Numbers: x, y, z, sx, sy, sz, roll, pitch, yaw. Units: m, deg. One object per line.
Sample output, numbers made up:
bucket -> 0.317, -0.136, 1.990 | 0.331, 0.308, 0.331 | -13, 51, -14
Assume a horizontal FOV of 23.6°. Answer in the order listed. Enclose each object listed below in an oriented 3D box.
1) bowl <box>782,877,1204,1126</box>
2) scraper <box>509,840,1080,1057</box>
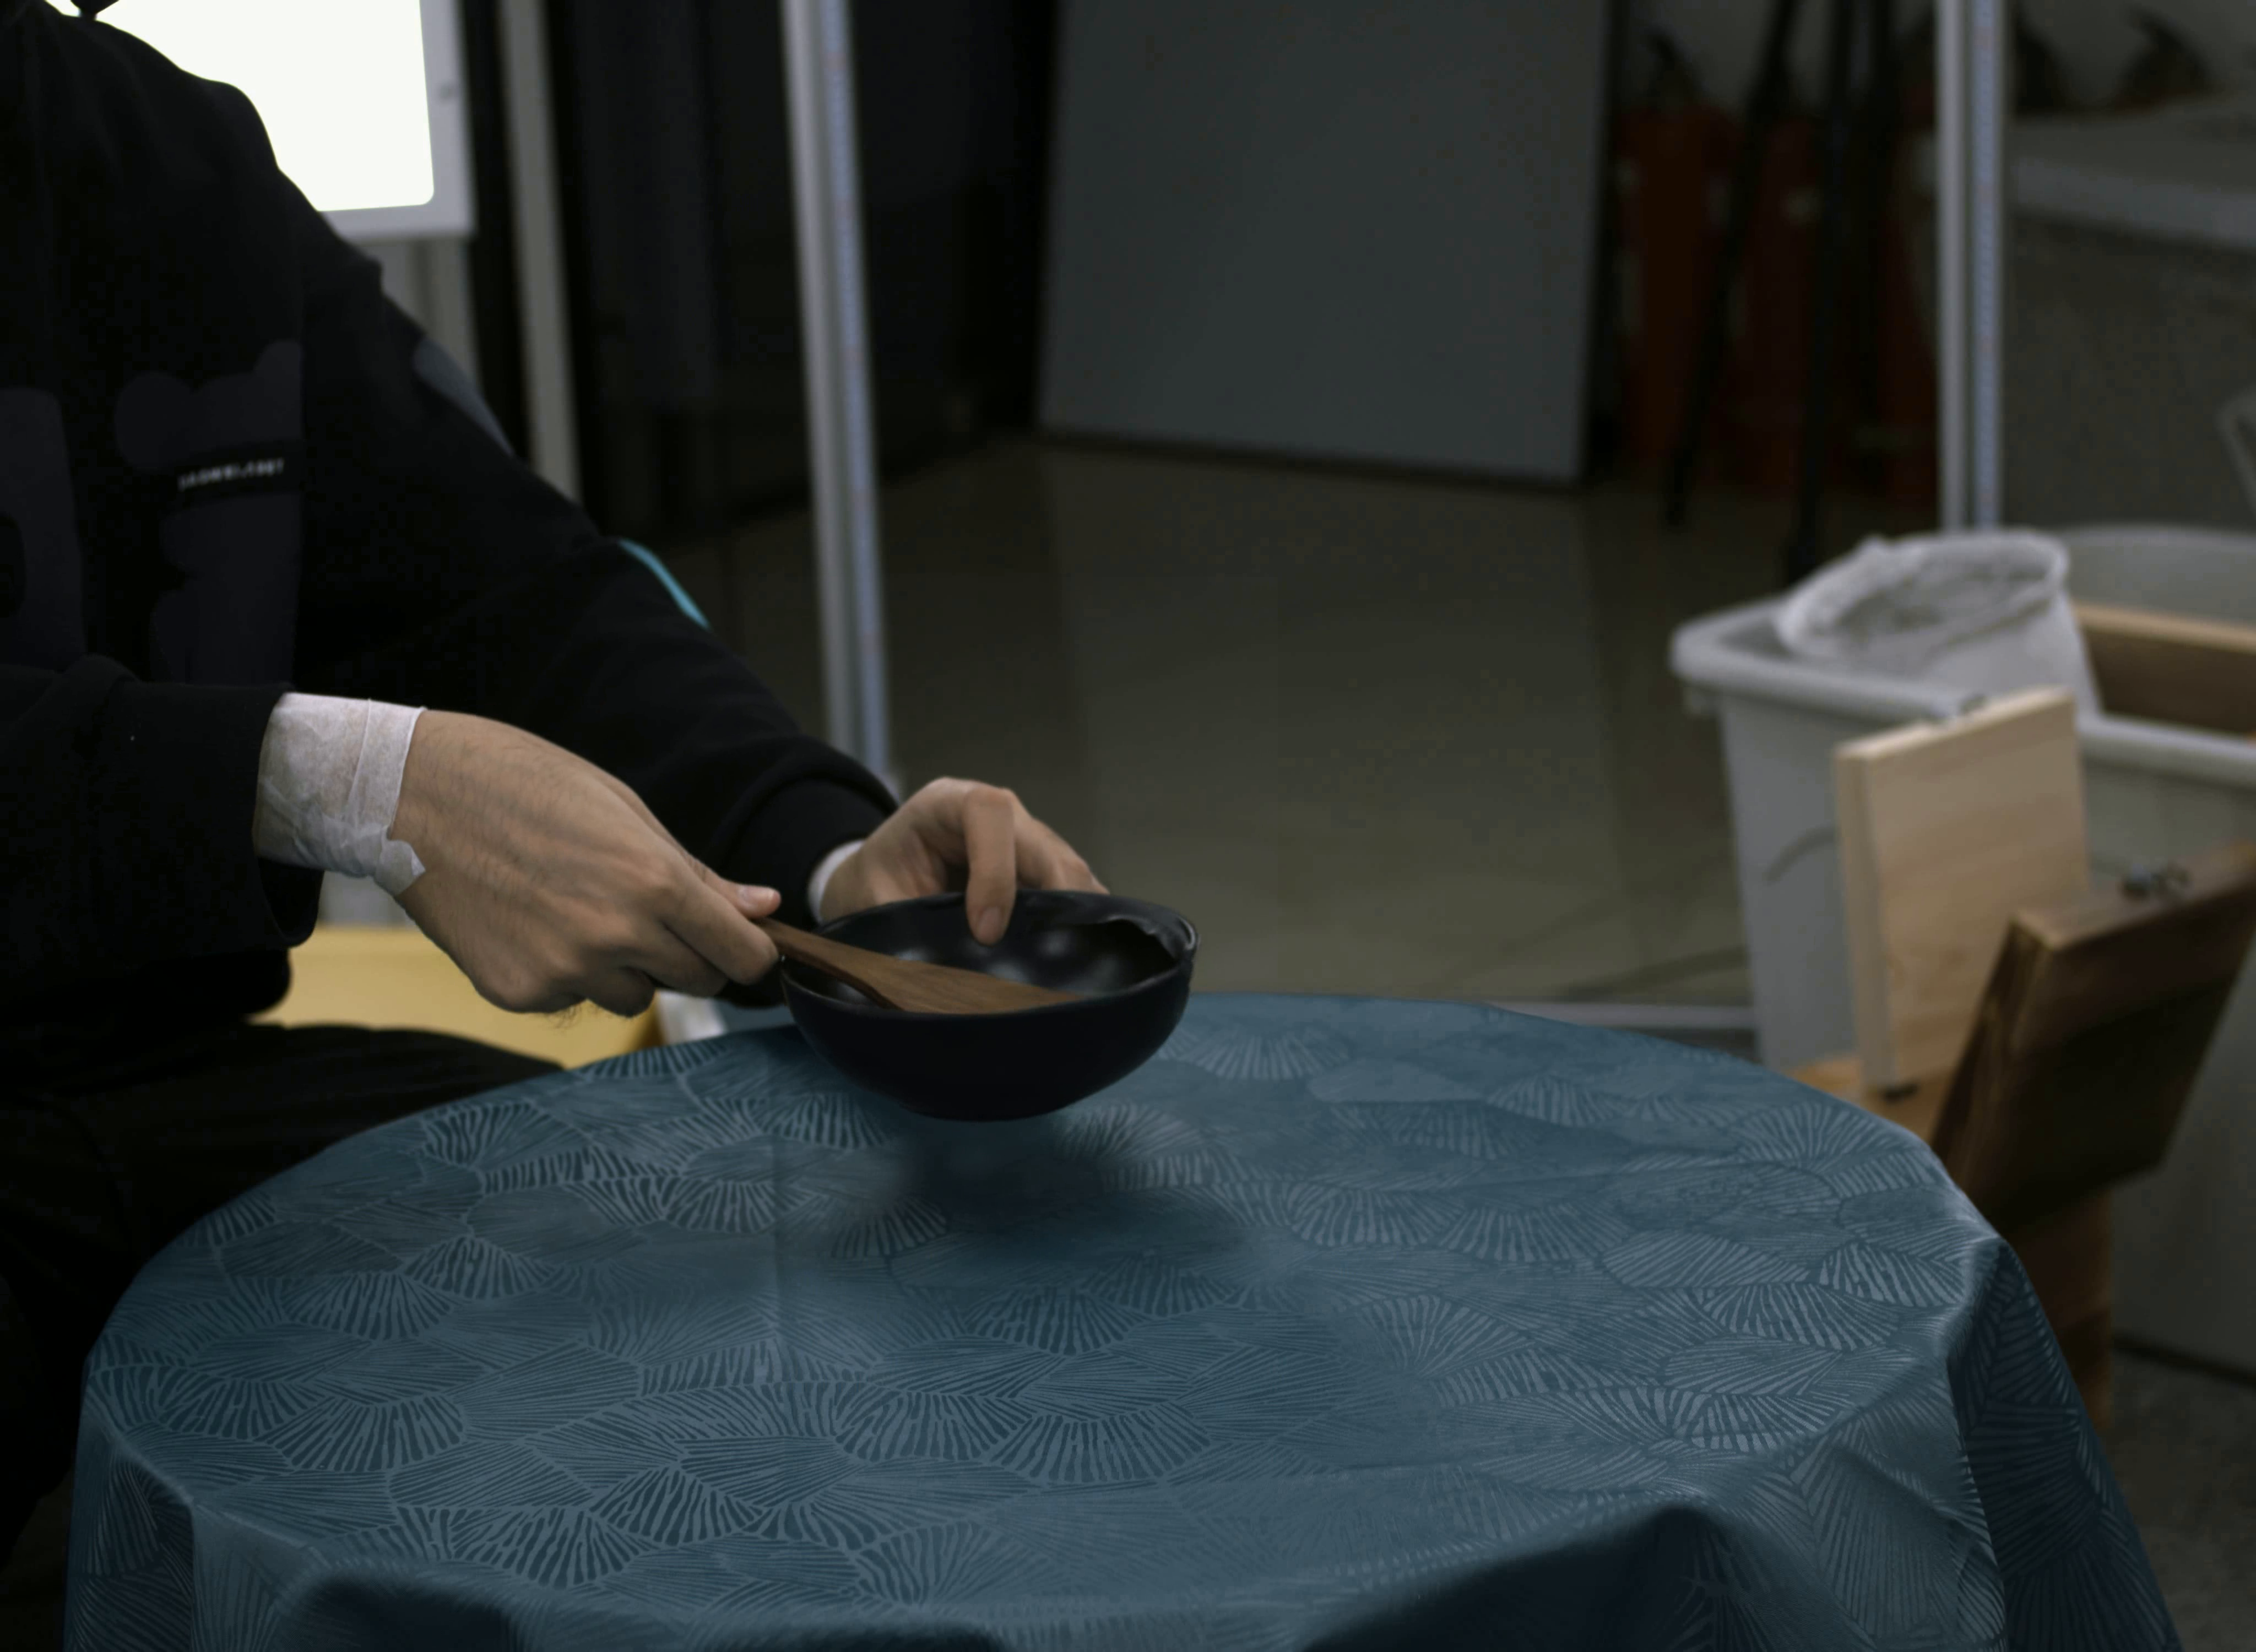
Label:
bowl -> -0.042, 0.062, 1.757 | 0.138, 0.050, 0.140 | -5, 18, 1
scraper -> -0.105, 0.039, 1.758 | 0.211, 0.011, 0.075 | 18, 14, 16
